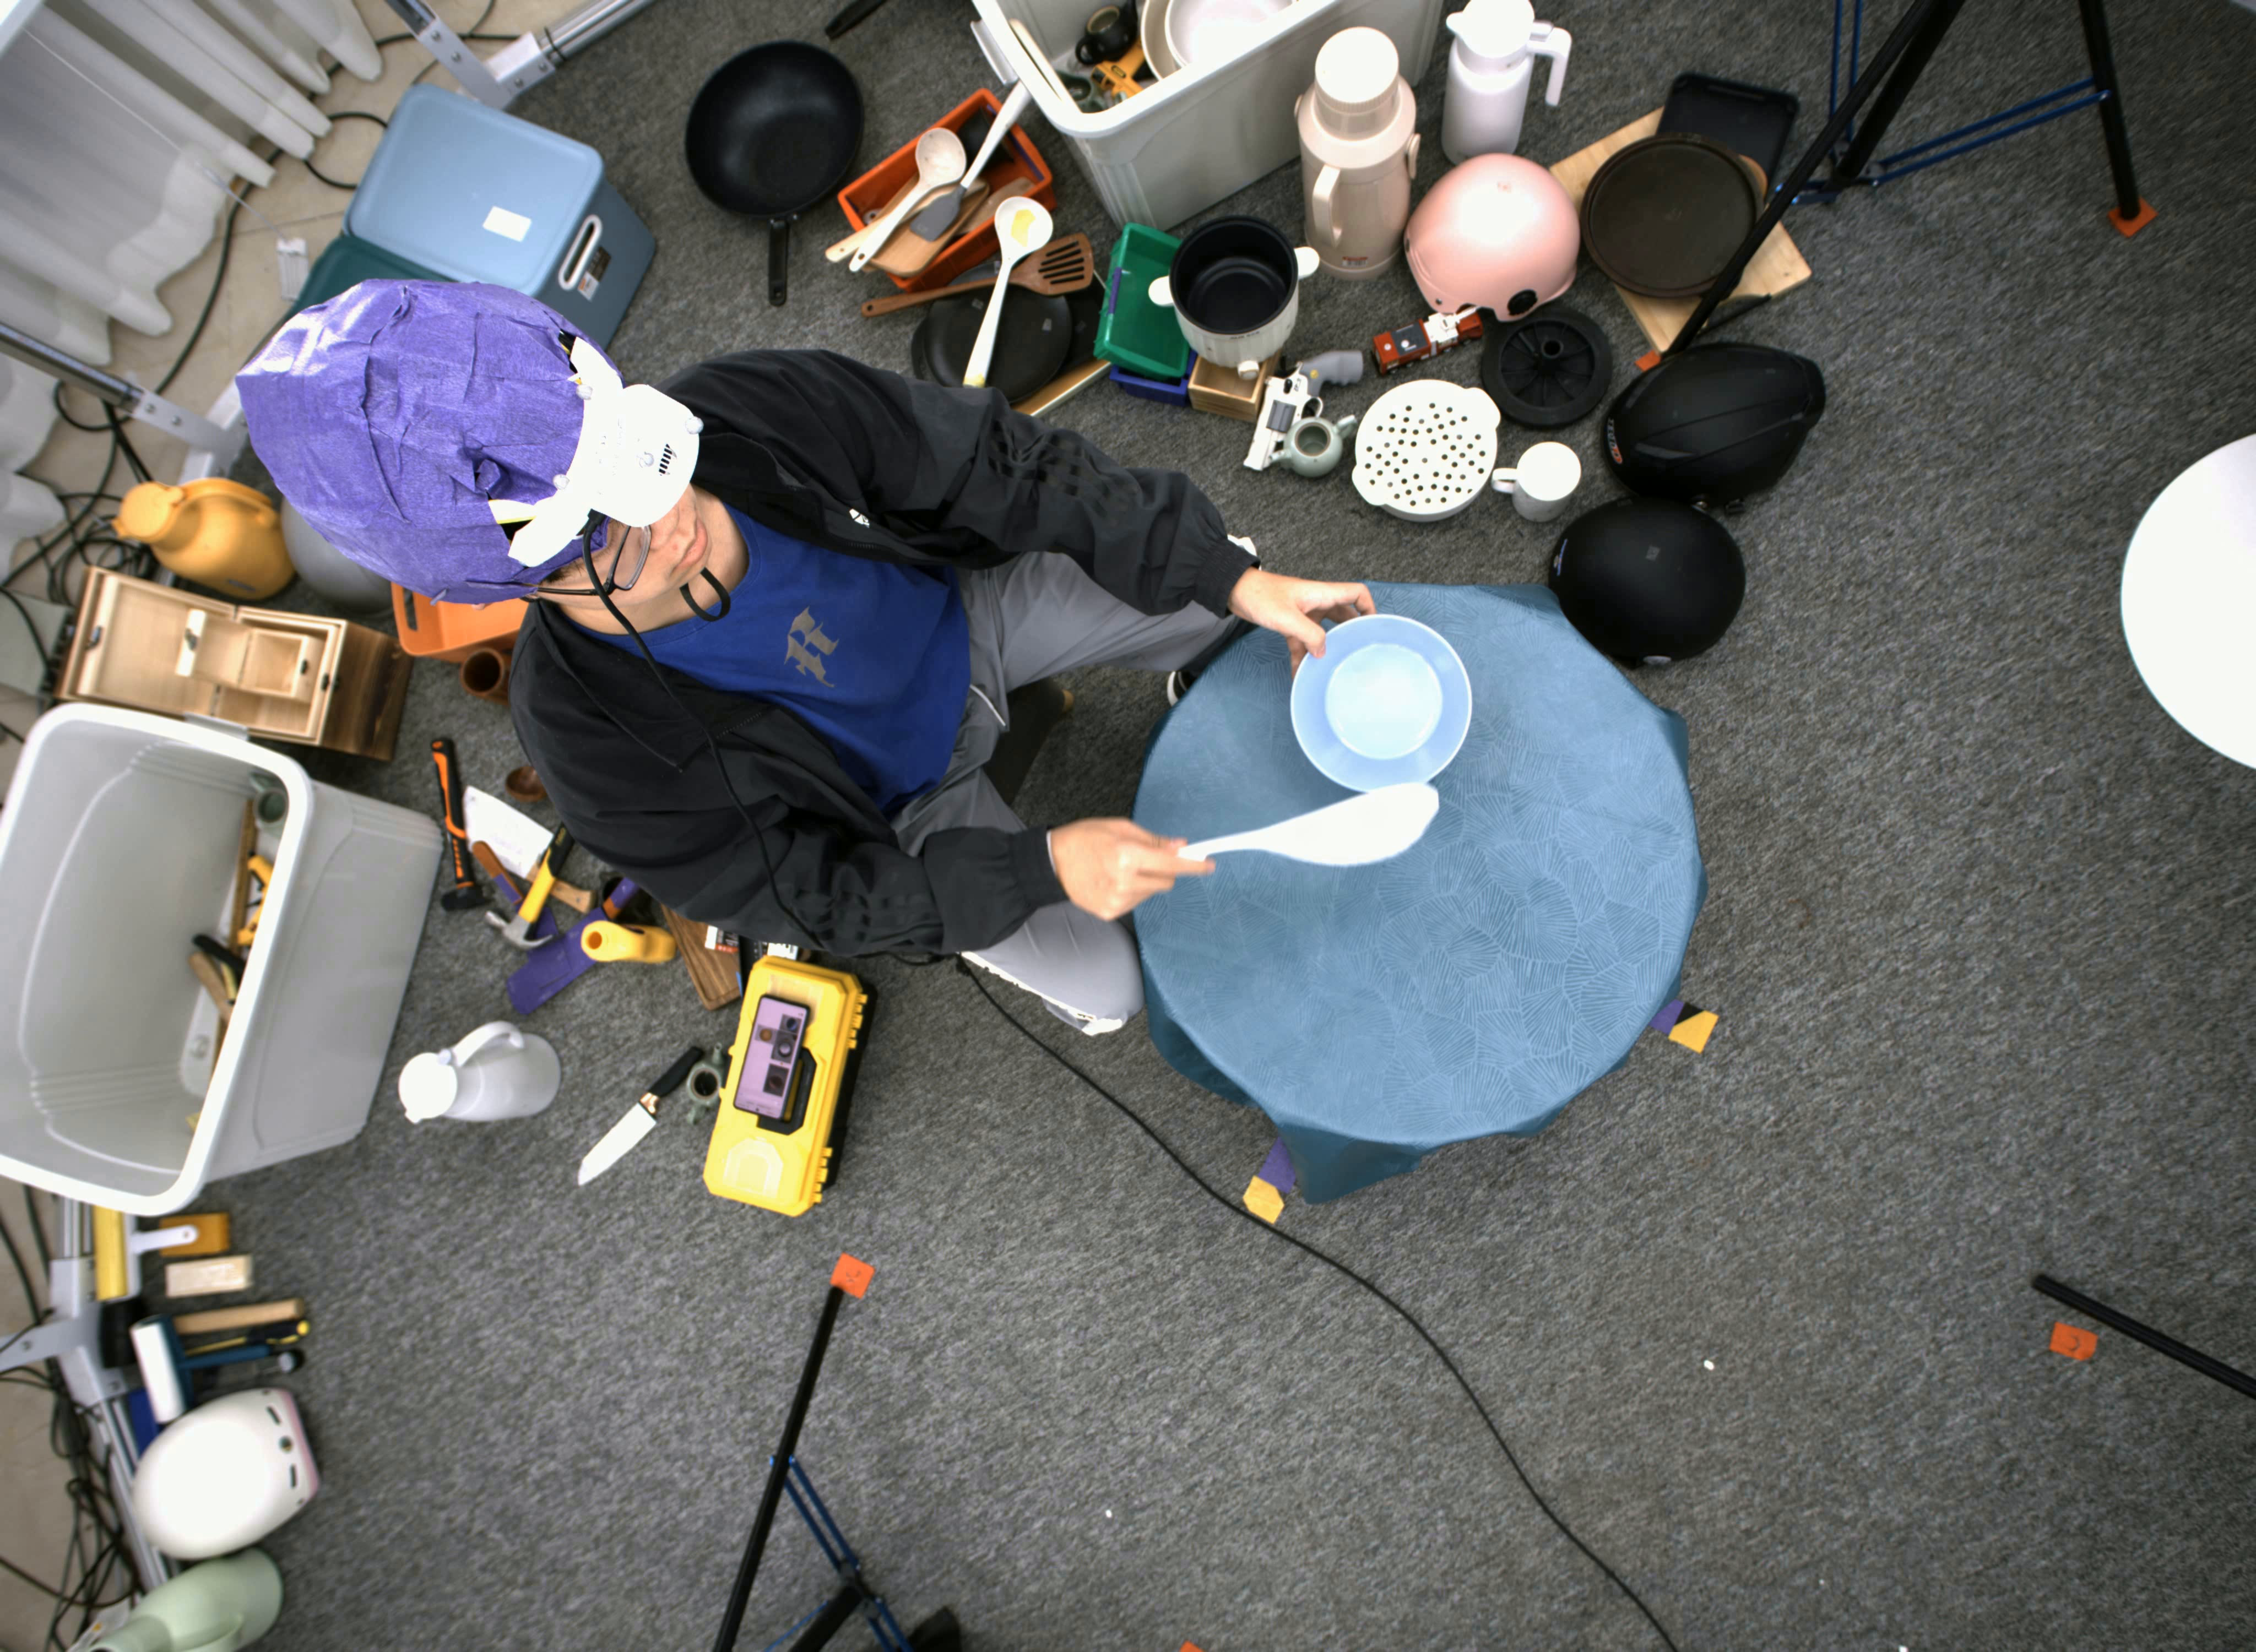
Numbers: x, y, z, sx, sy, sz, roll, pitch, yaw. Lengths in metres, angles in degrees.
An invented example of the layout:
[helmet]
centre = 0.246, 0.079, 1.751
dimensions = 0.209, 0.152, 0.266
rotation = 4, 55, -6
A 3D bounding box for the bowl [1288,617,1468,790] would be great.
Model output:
[bowl]
centre = 0.251, -0.121, 1.372
dimensions = 0.177, 0.069, 0.177
rotation = 3, 101, 15

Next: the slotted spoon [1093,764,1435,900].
[slotted spoon]
centre = 0.121, 0.012, 1.296
dimensions = 0.351, 0.134, 0.051
rotation = -12, 105, 22
